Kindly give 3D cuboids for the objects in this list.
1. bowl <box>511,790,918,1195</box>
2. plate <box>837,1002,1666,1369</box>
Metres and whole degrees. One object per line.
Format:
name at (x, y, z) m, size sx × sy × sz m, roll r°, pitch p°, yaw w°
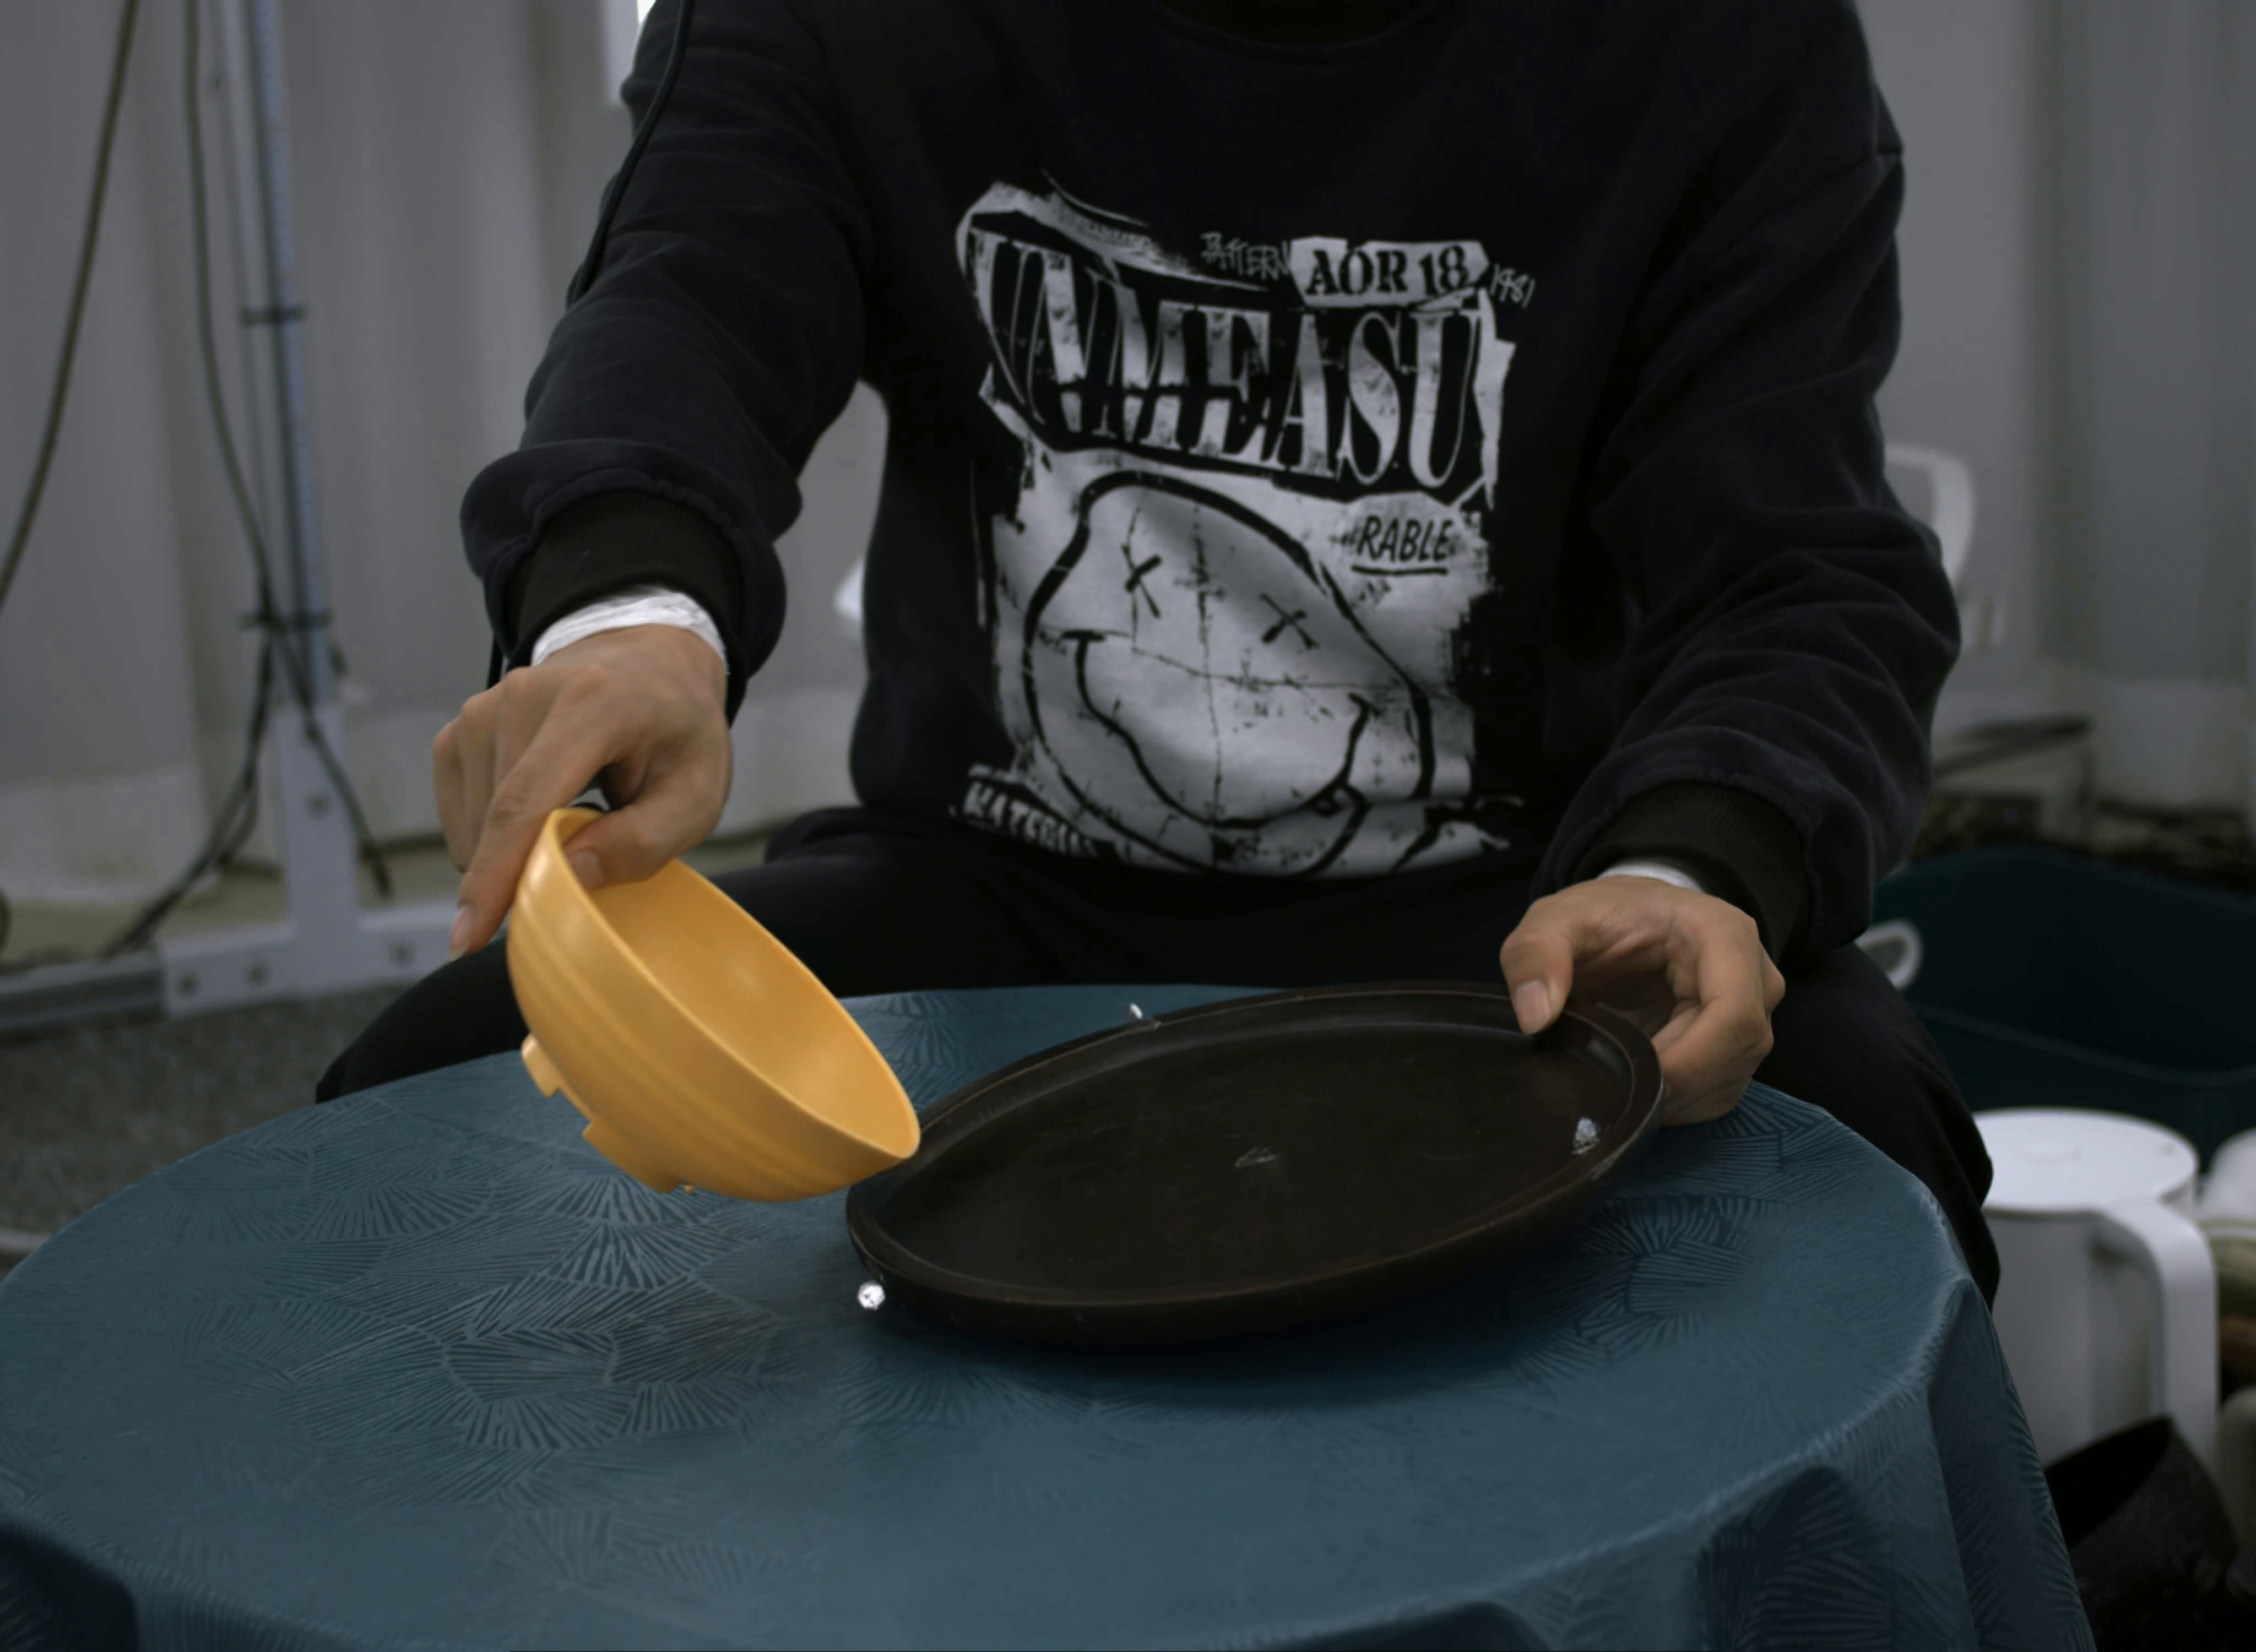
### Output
bowl at (-0.132, 0.061, 1.596) m, size 0.060 × 0.144 × 0.146 m, roll -46°, pitch 11°, yaw 12°
plate at (0.038, 0.106, 1.652) m, size 0.254 × 0.029 × 0.256 m, roll -10°, pitch 15°, yaw 2°
